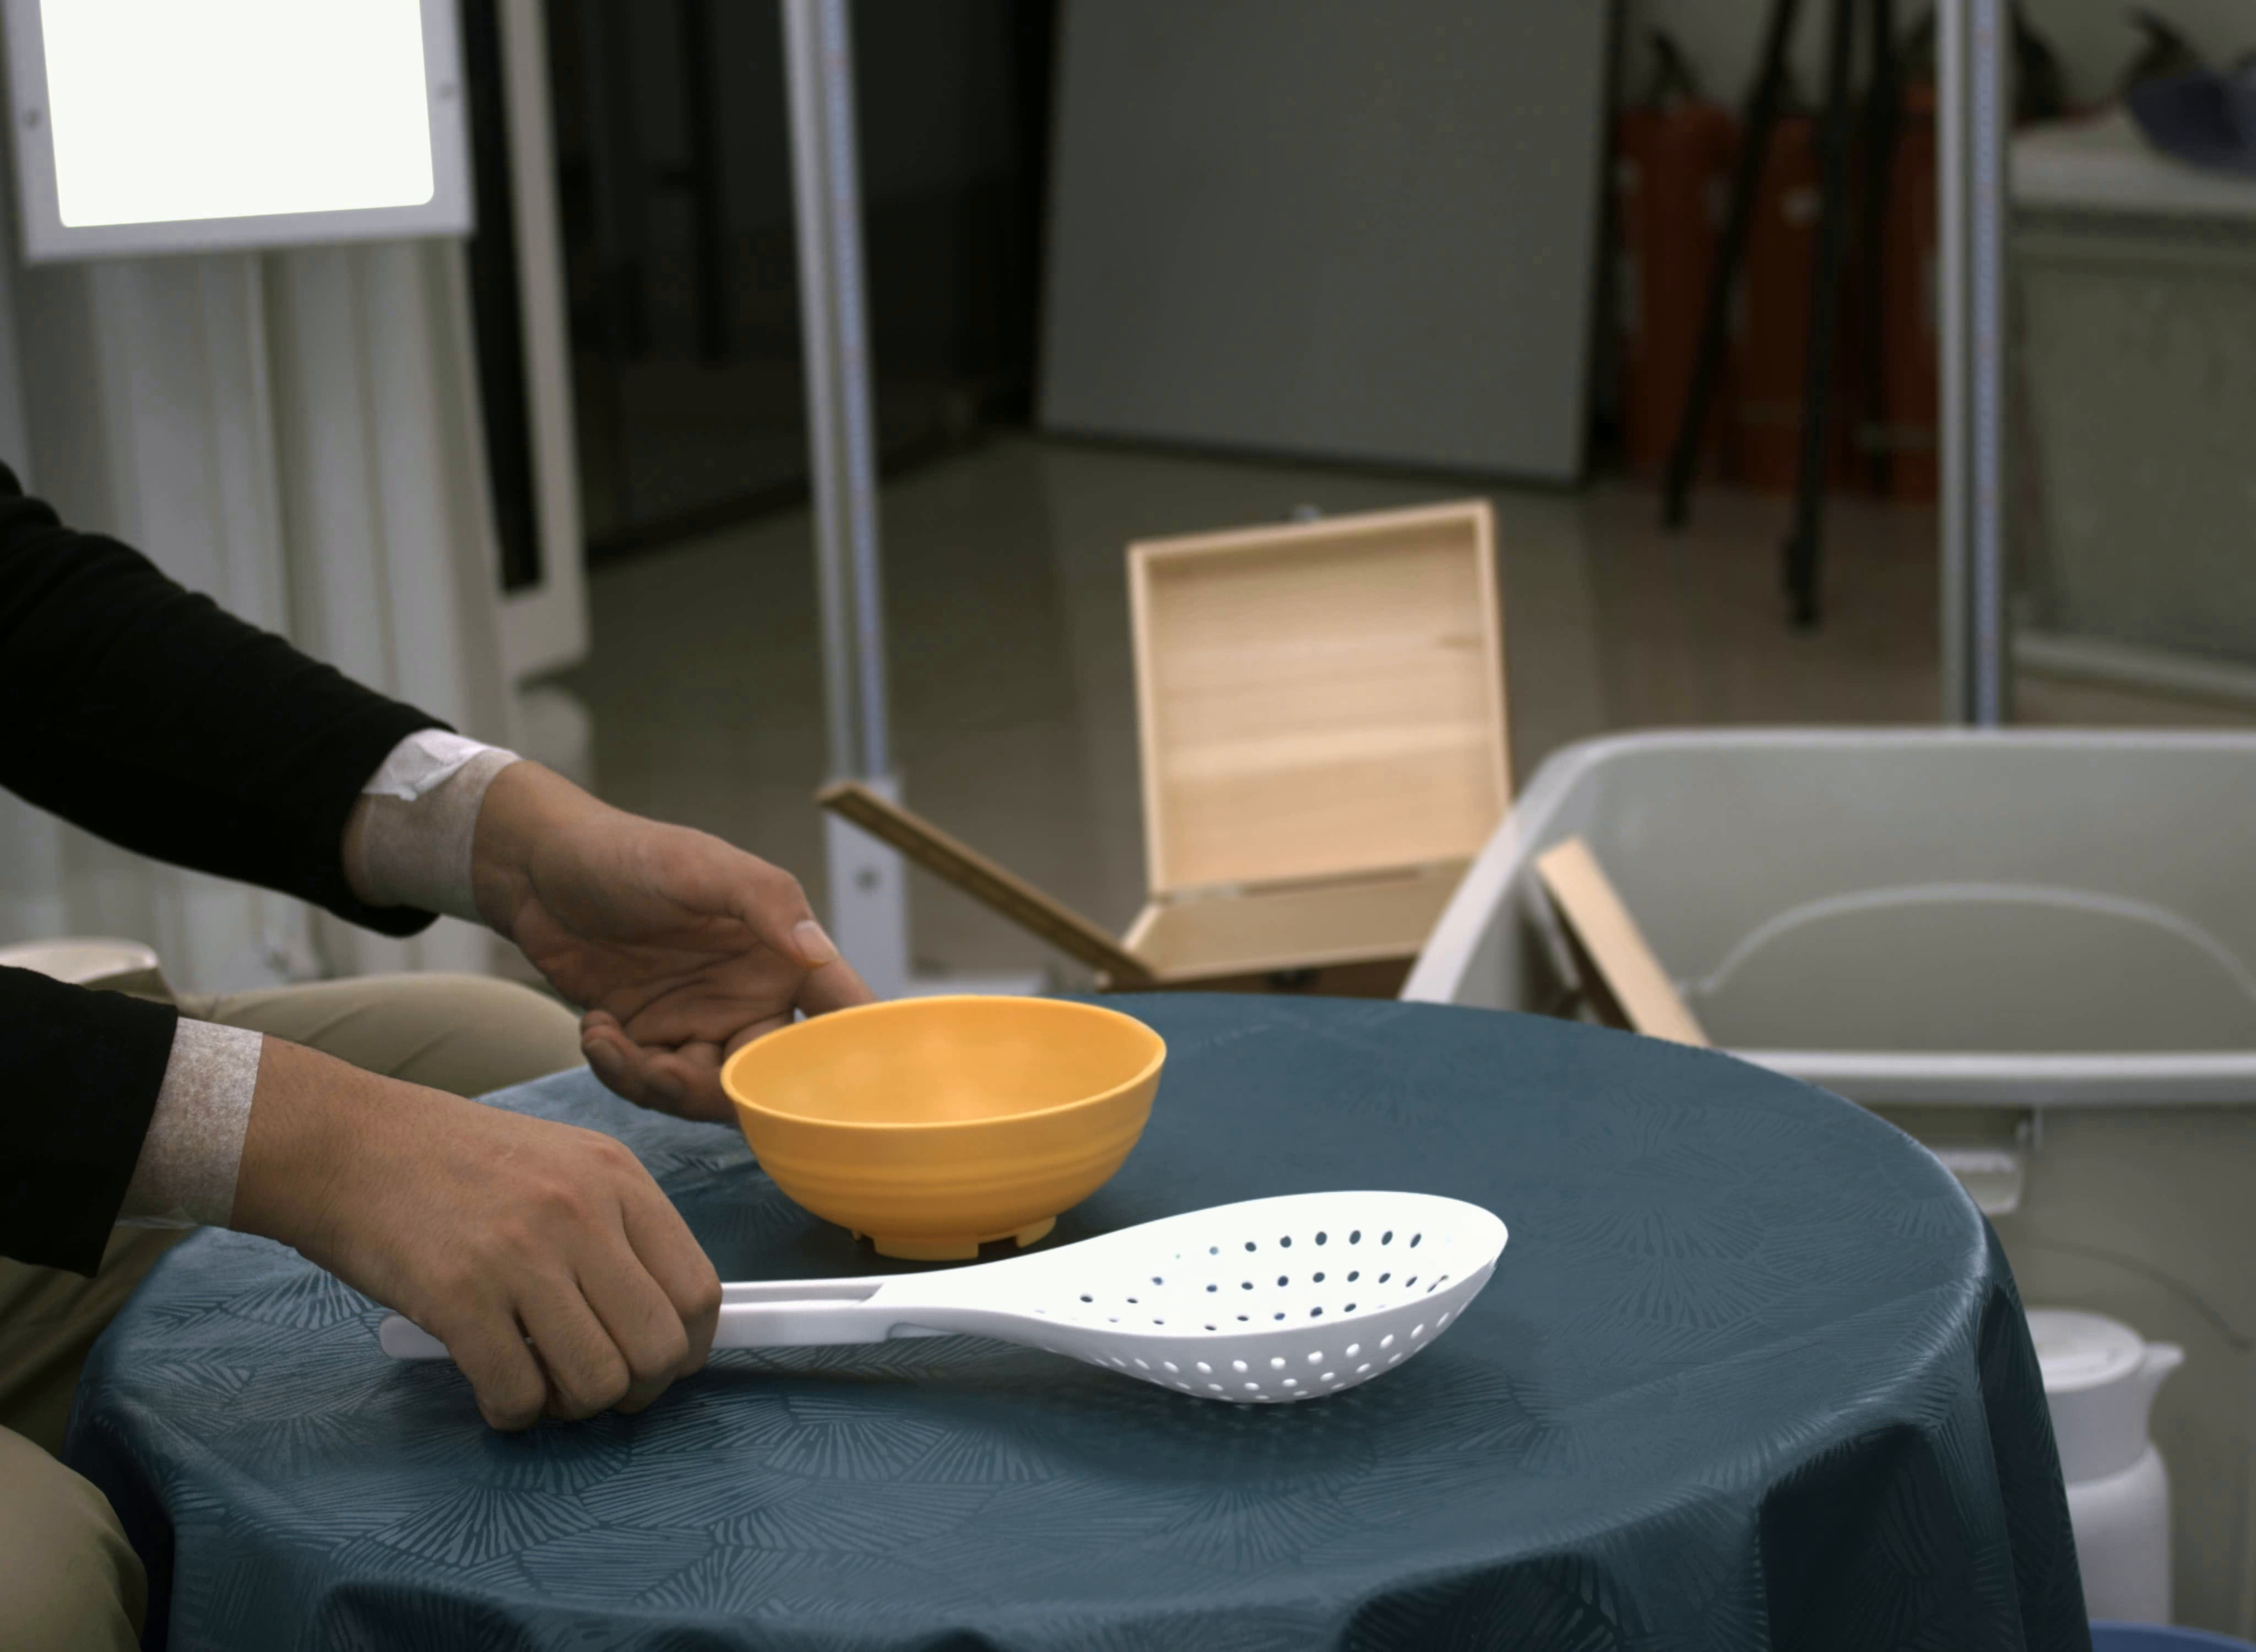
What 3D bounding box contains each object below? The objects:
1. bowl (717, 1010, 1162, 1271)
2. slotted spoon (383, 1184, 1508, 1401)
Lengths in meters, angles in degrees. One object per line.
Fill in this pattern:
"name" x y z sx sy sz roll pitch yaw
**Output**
"bowl" -0.059 0.105 1.737 0.143 0.061 0.145 -2 12 0
"slotted spoon" -0.057 0.142 1.600 0.348 0.046 0.135 -1 13 16
